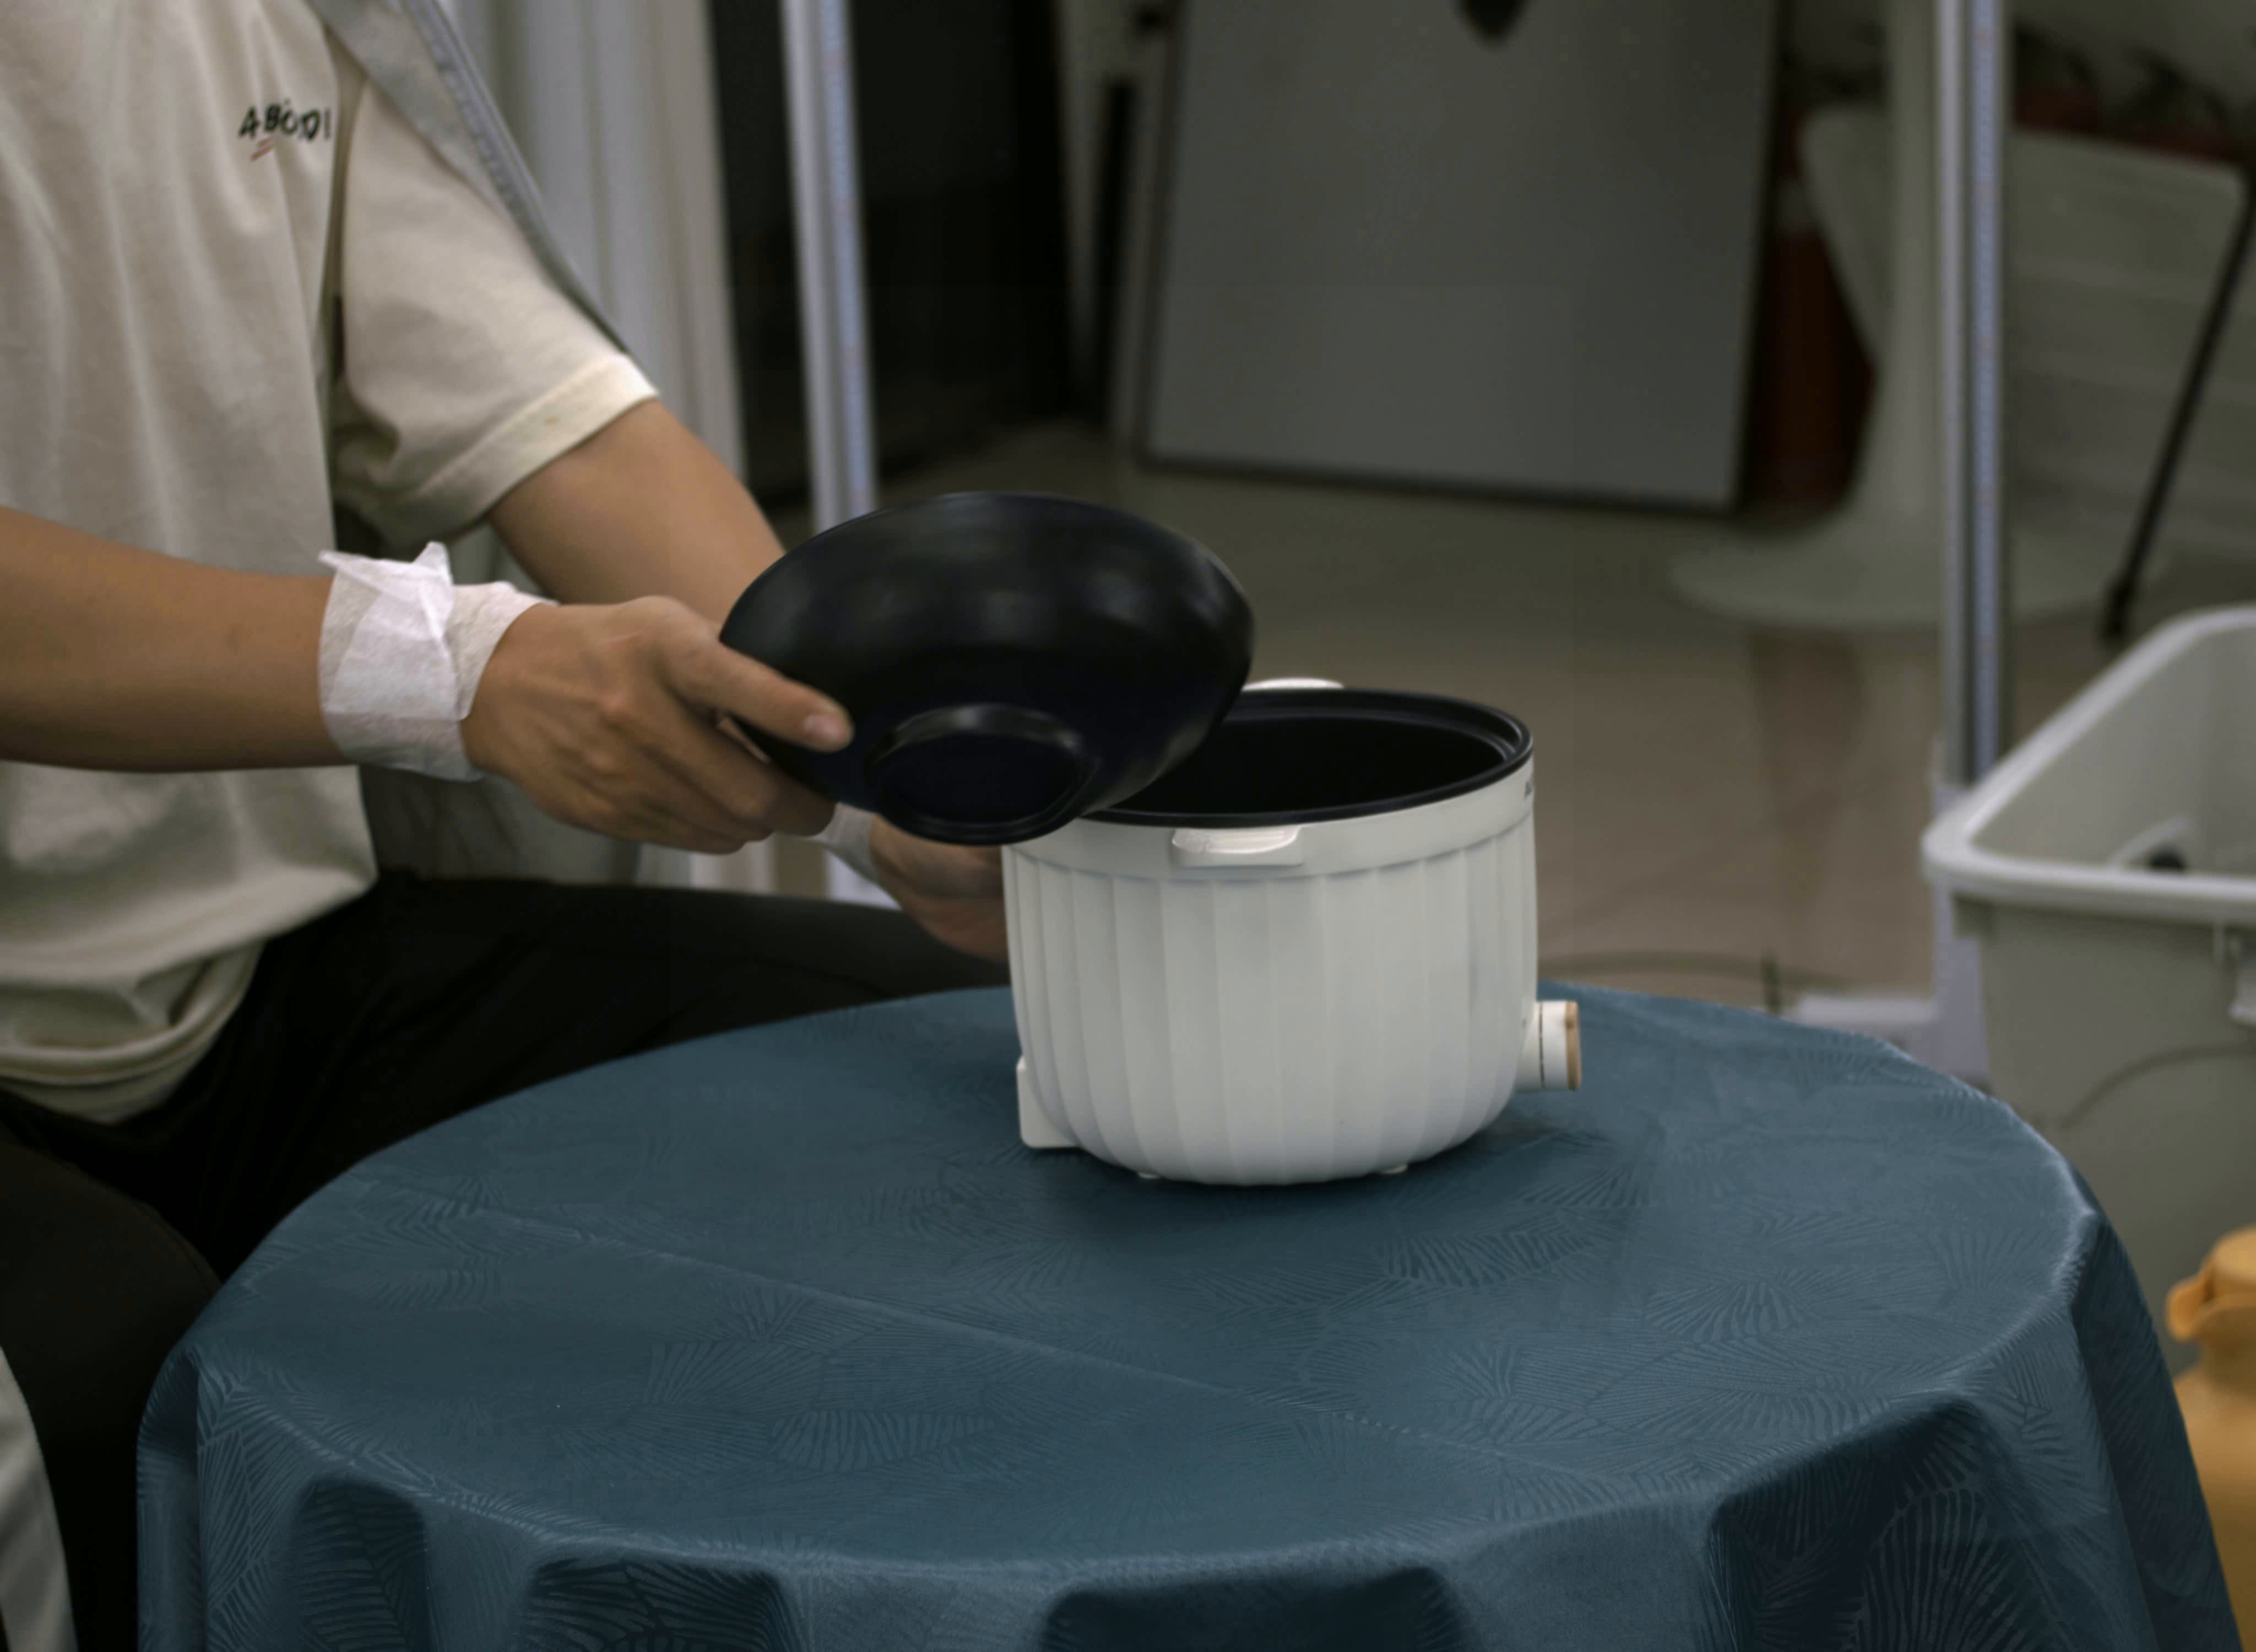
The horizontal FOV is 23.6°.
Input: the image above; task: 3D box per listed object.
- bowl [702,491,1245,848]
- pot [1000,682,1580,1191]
[{"bbox_3d":[-0.047,-0.038,1.648,0.168,0.067,0.137,-3,-31,1],"label":"bowl"},{"bbox_3d":[0.054,0.038,1.806,0.189,0.144,0.240,-6,14,8],"label":"pot"}]
